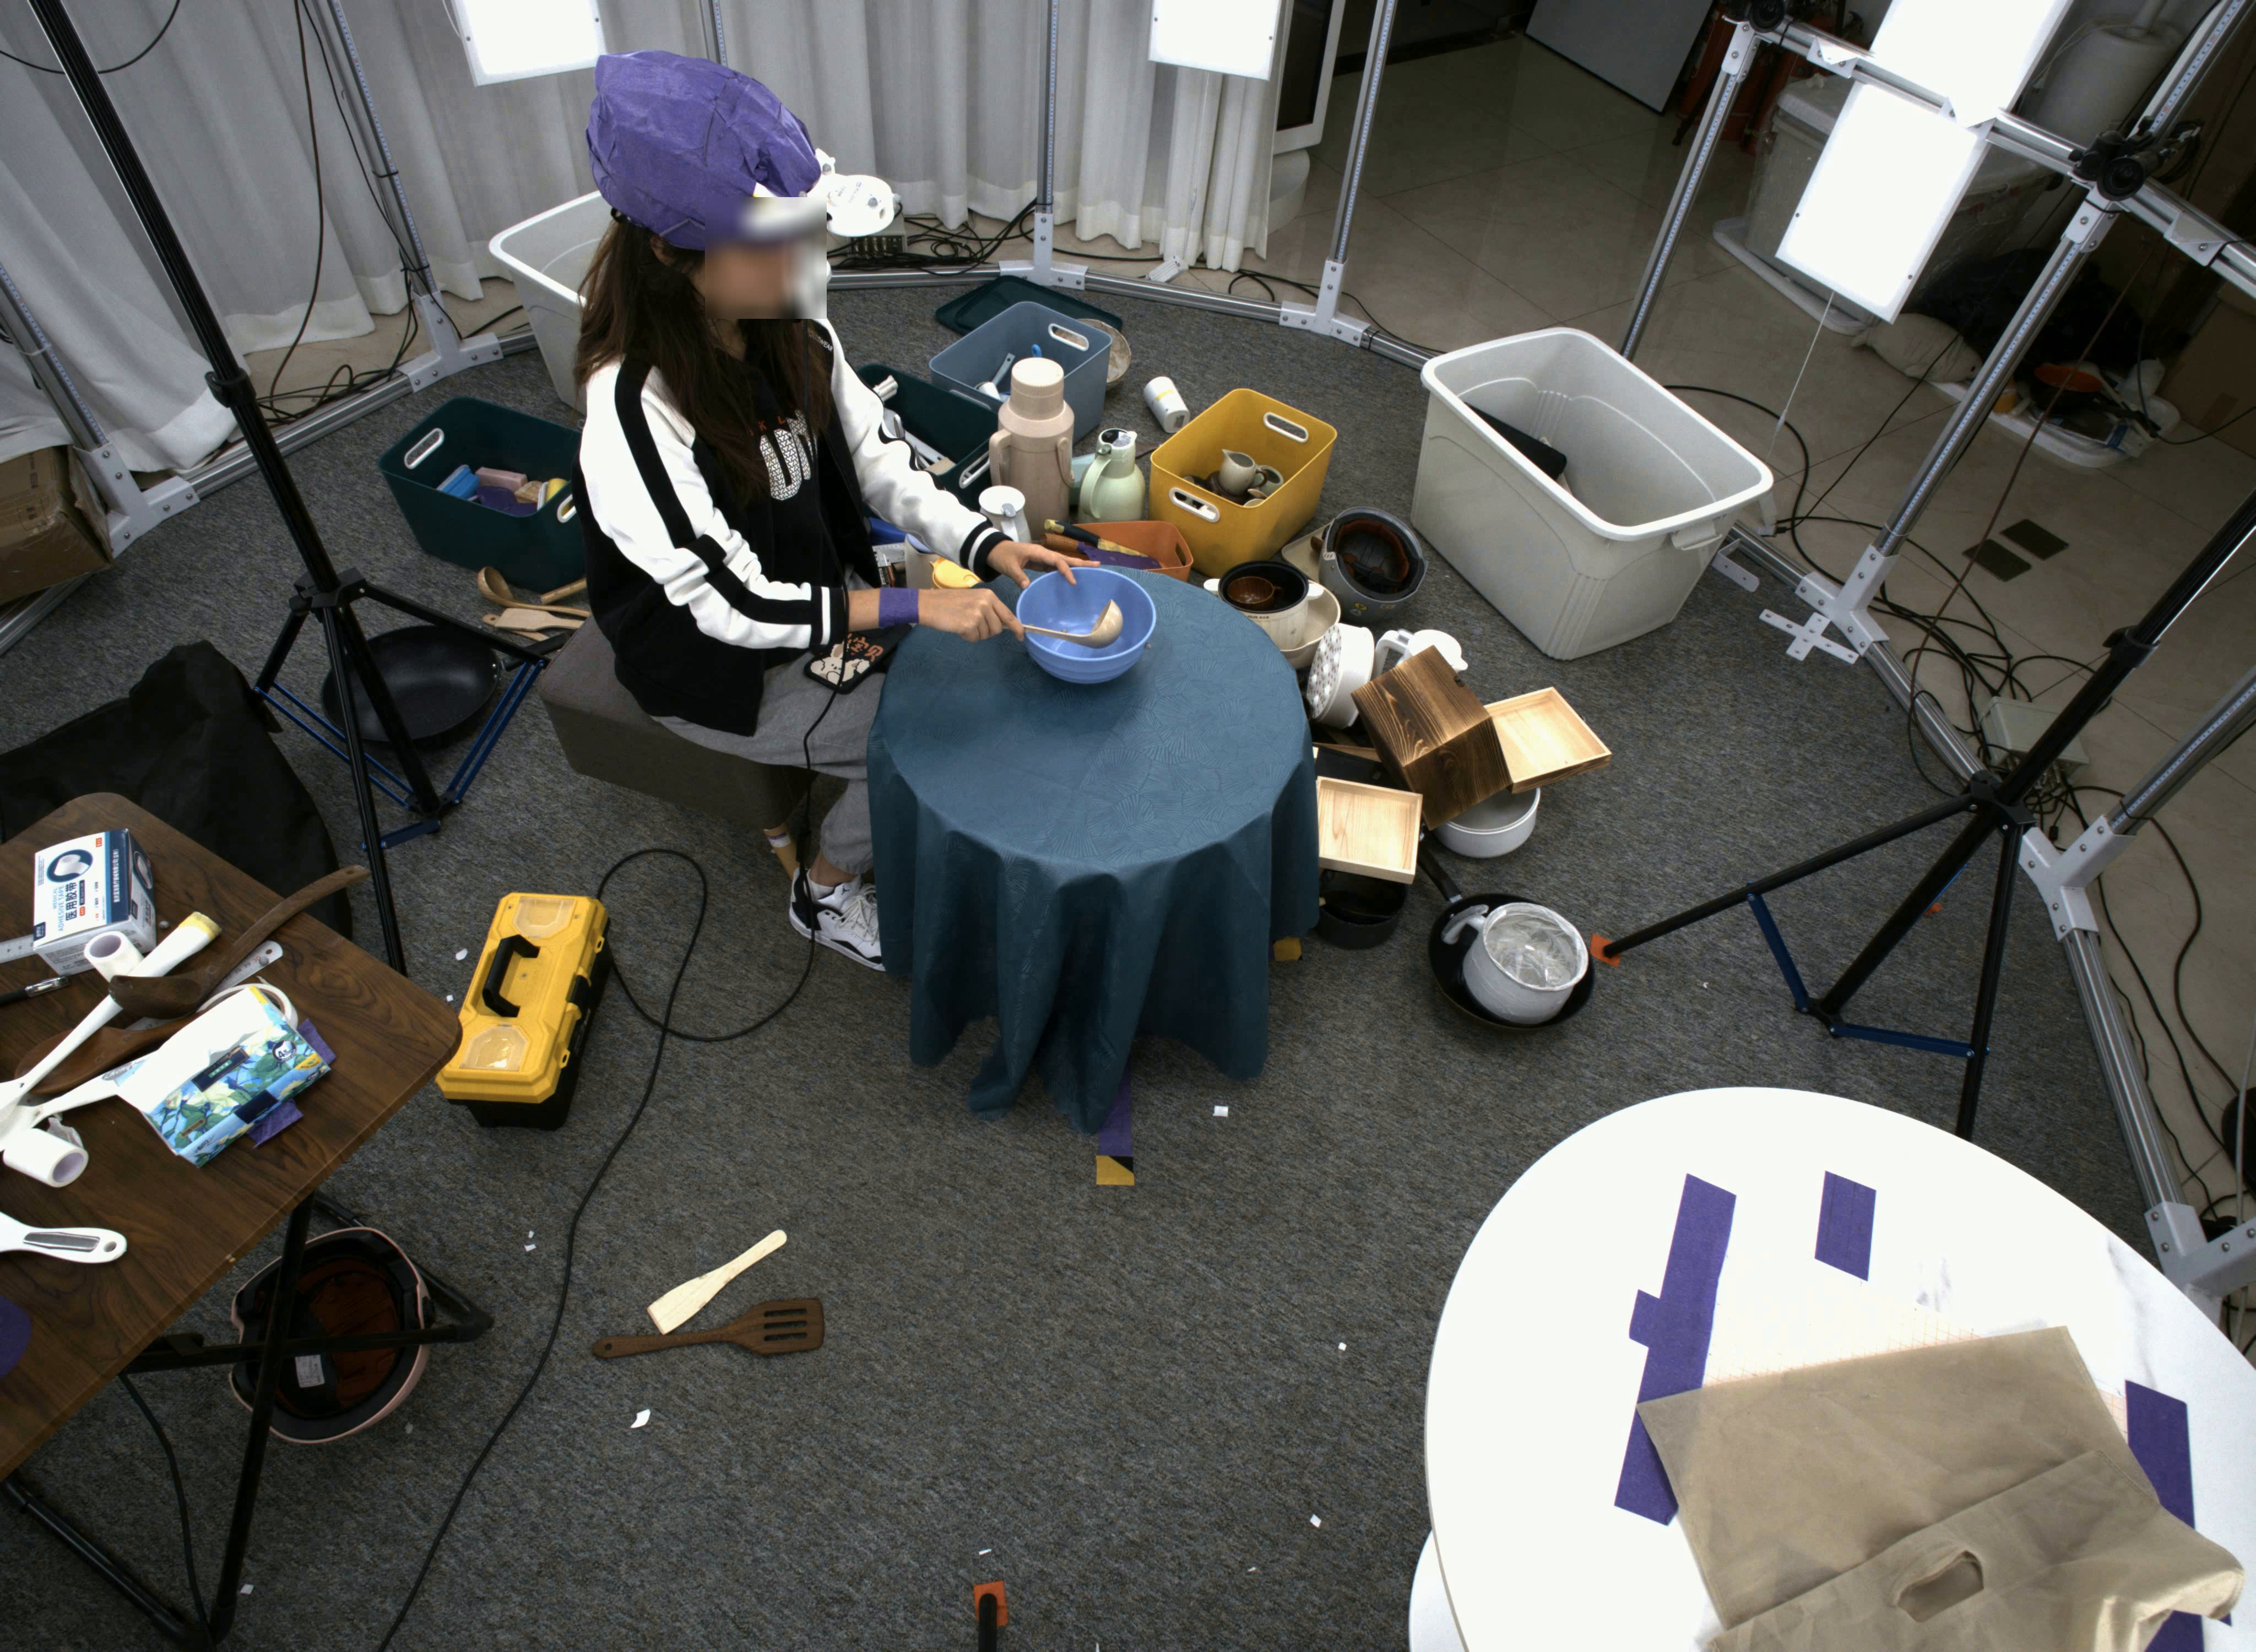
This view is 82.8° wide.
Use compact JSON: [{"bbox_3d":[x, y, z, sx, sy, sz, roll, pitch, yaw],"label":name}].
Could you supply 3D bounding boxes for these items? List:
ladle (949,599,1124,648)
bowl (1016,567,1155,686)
[{"bbox_3d":[-0.126,-0.296,1.772,0.253,0.071,0.074,6,70,-26],"label":"ladle"},{"bbox_3d":[-0.061,-0.270,1.843,0.196,0.093,0.201,1,50,-2],"label":"bowl"}]
